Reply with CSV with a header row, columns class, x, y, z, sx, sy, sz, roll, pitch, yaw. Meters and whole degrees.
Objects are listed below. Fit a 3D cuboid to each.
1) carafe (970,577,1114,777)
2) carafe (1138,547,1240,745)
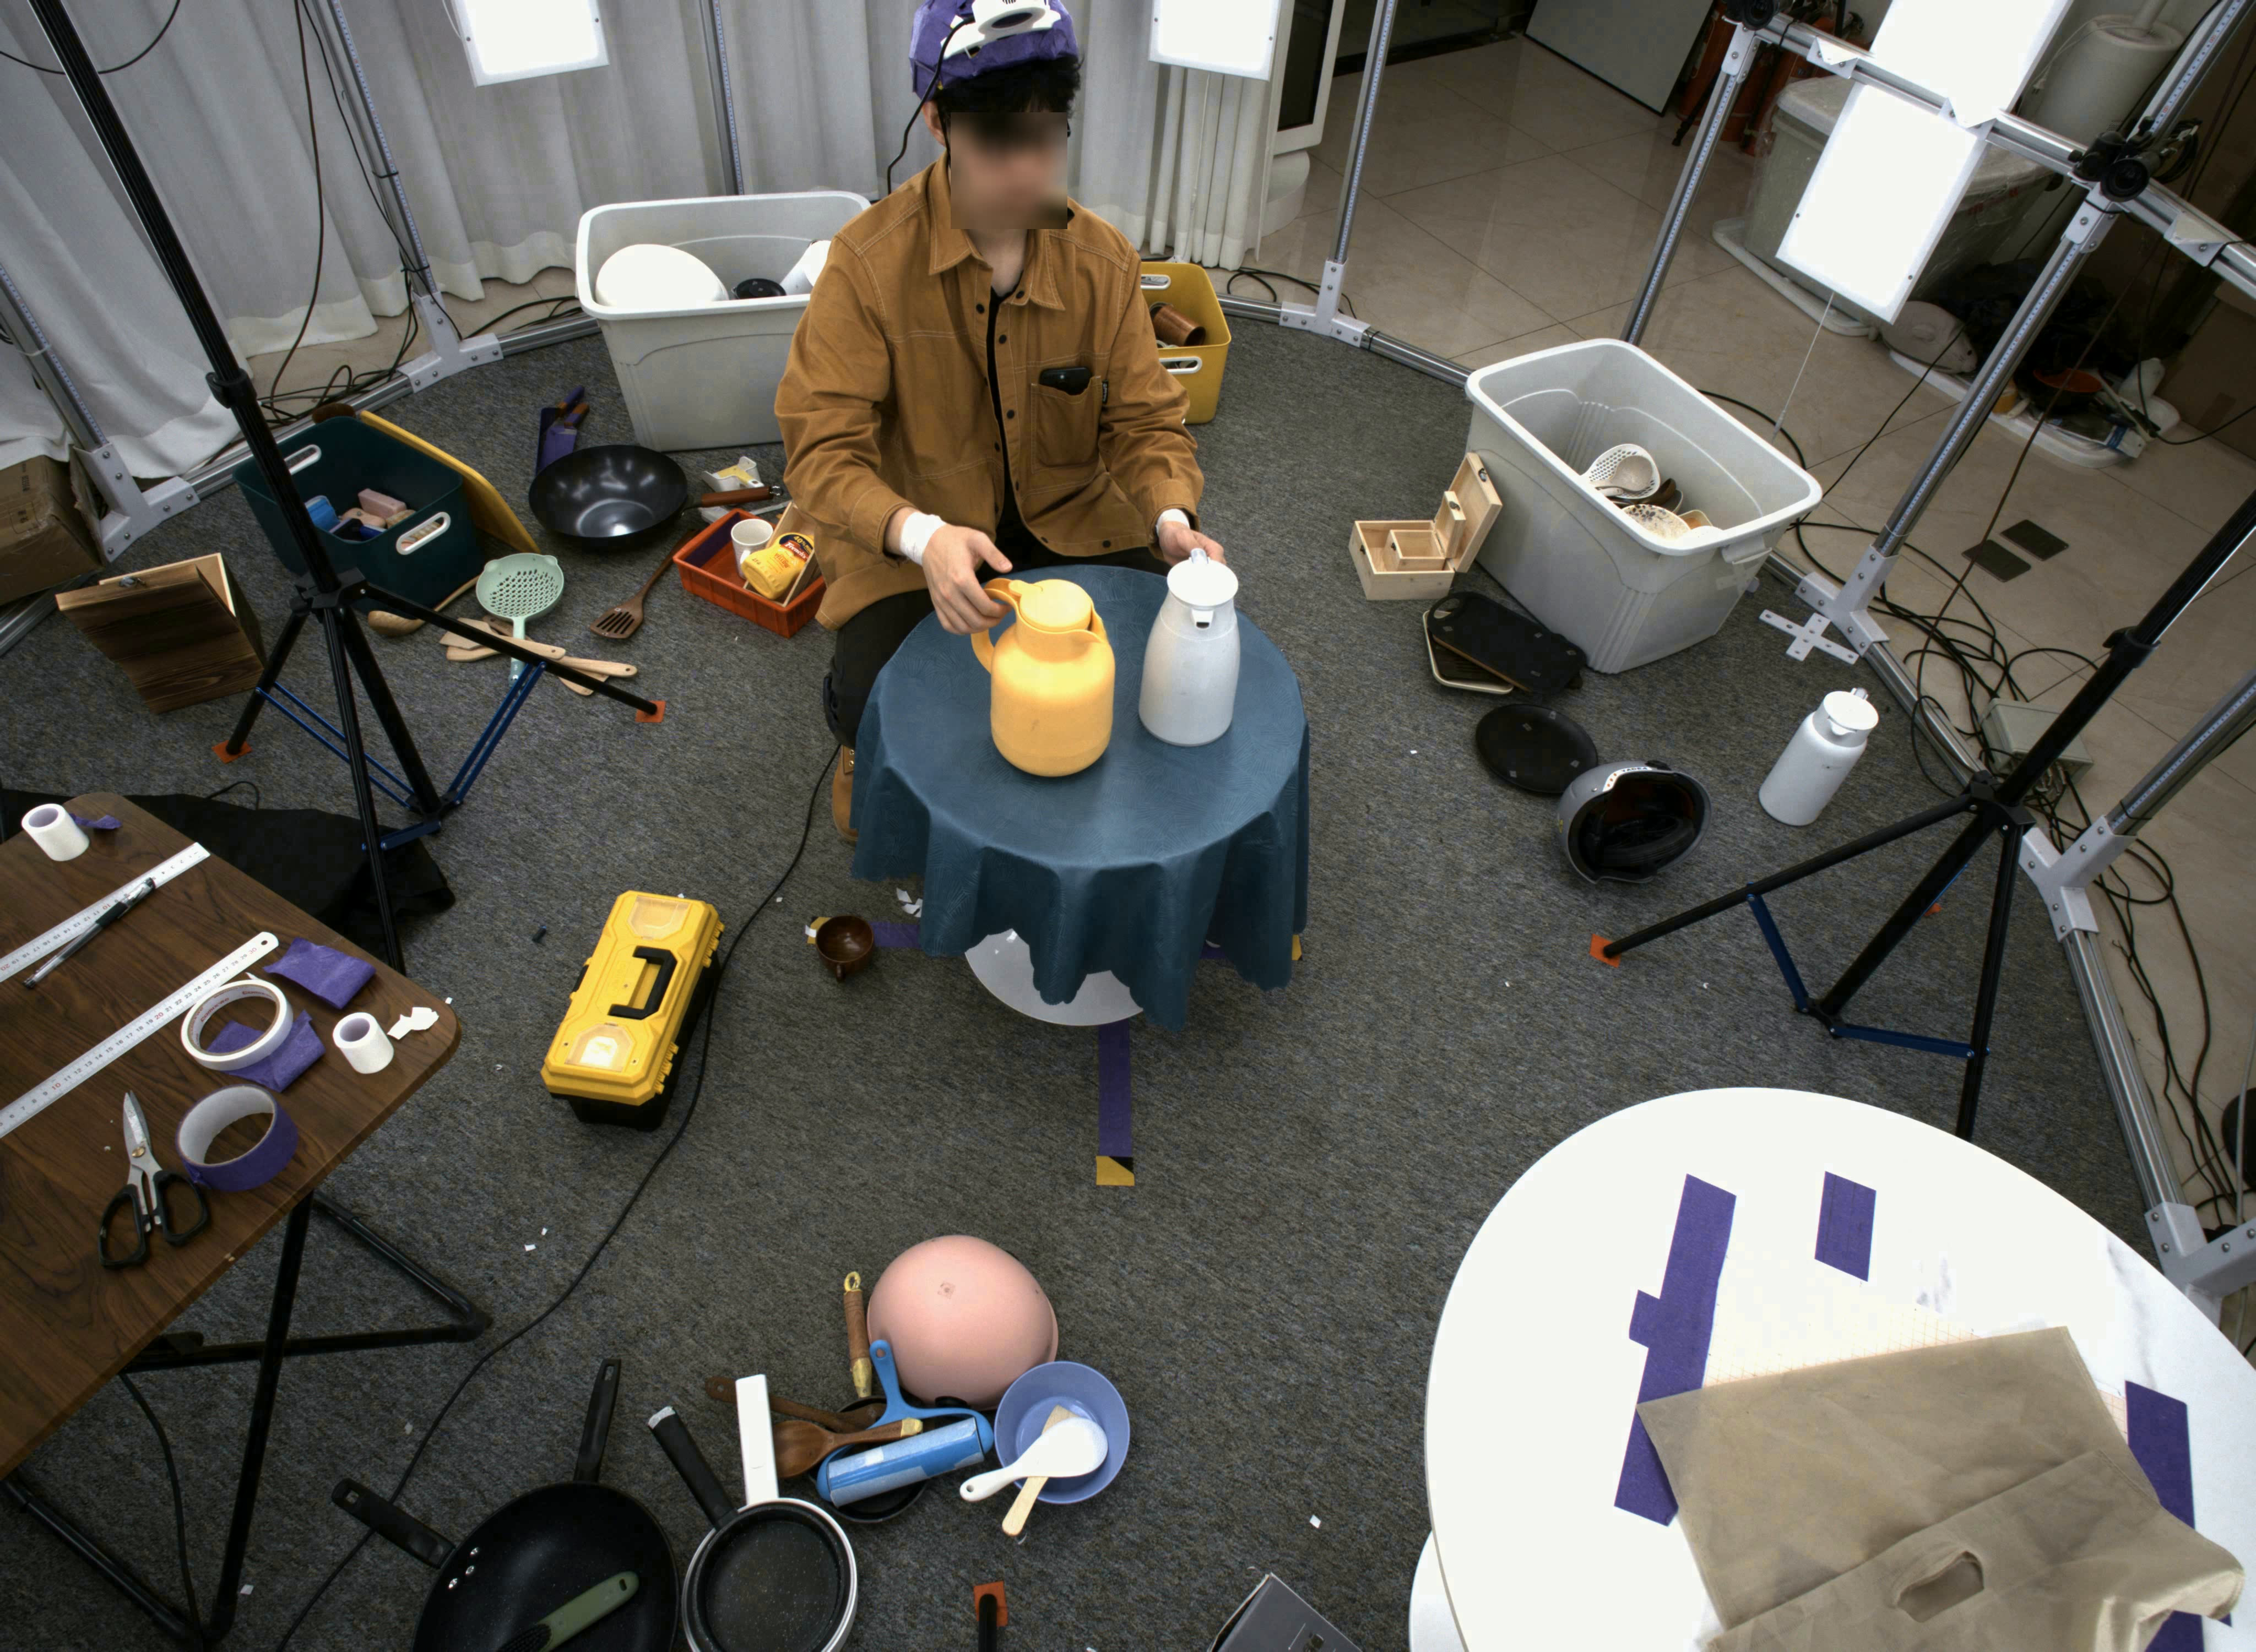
class,x,y,z,sx,sy,sz,roll,pitch,yaw
carafe,-0.115,-0.206,1.673,0.204,0.254,0.166,29,51,18
carafe,0.086,-0.254,1.734,0.132,0.242,0.172,2,49,-3
